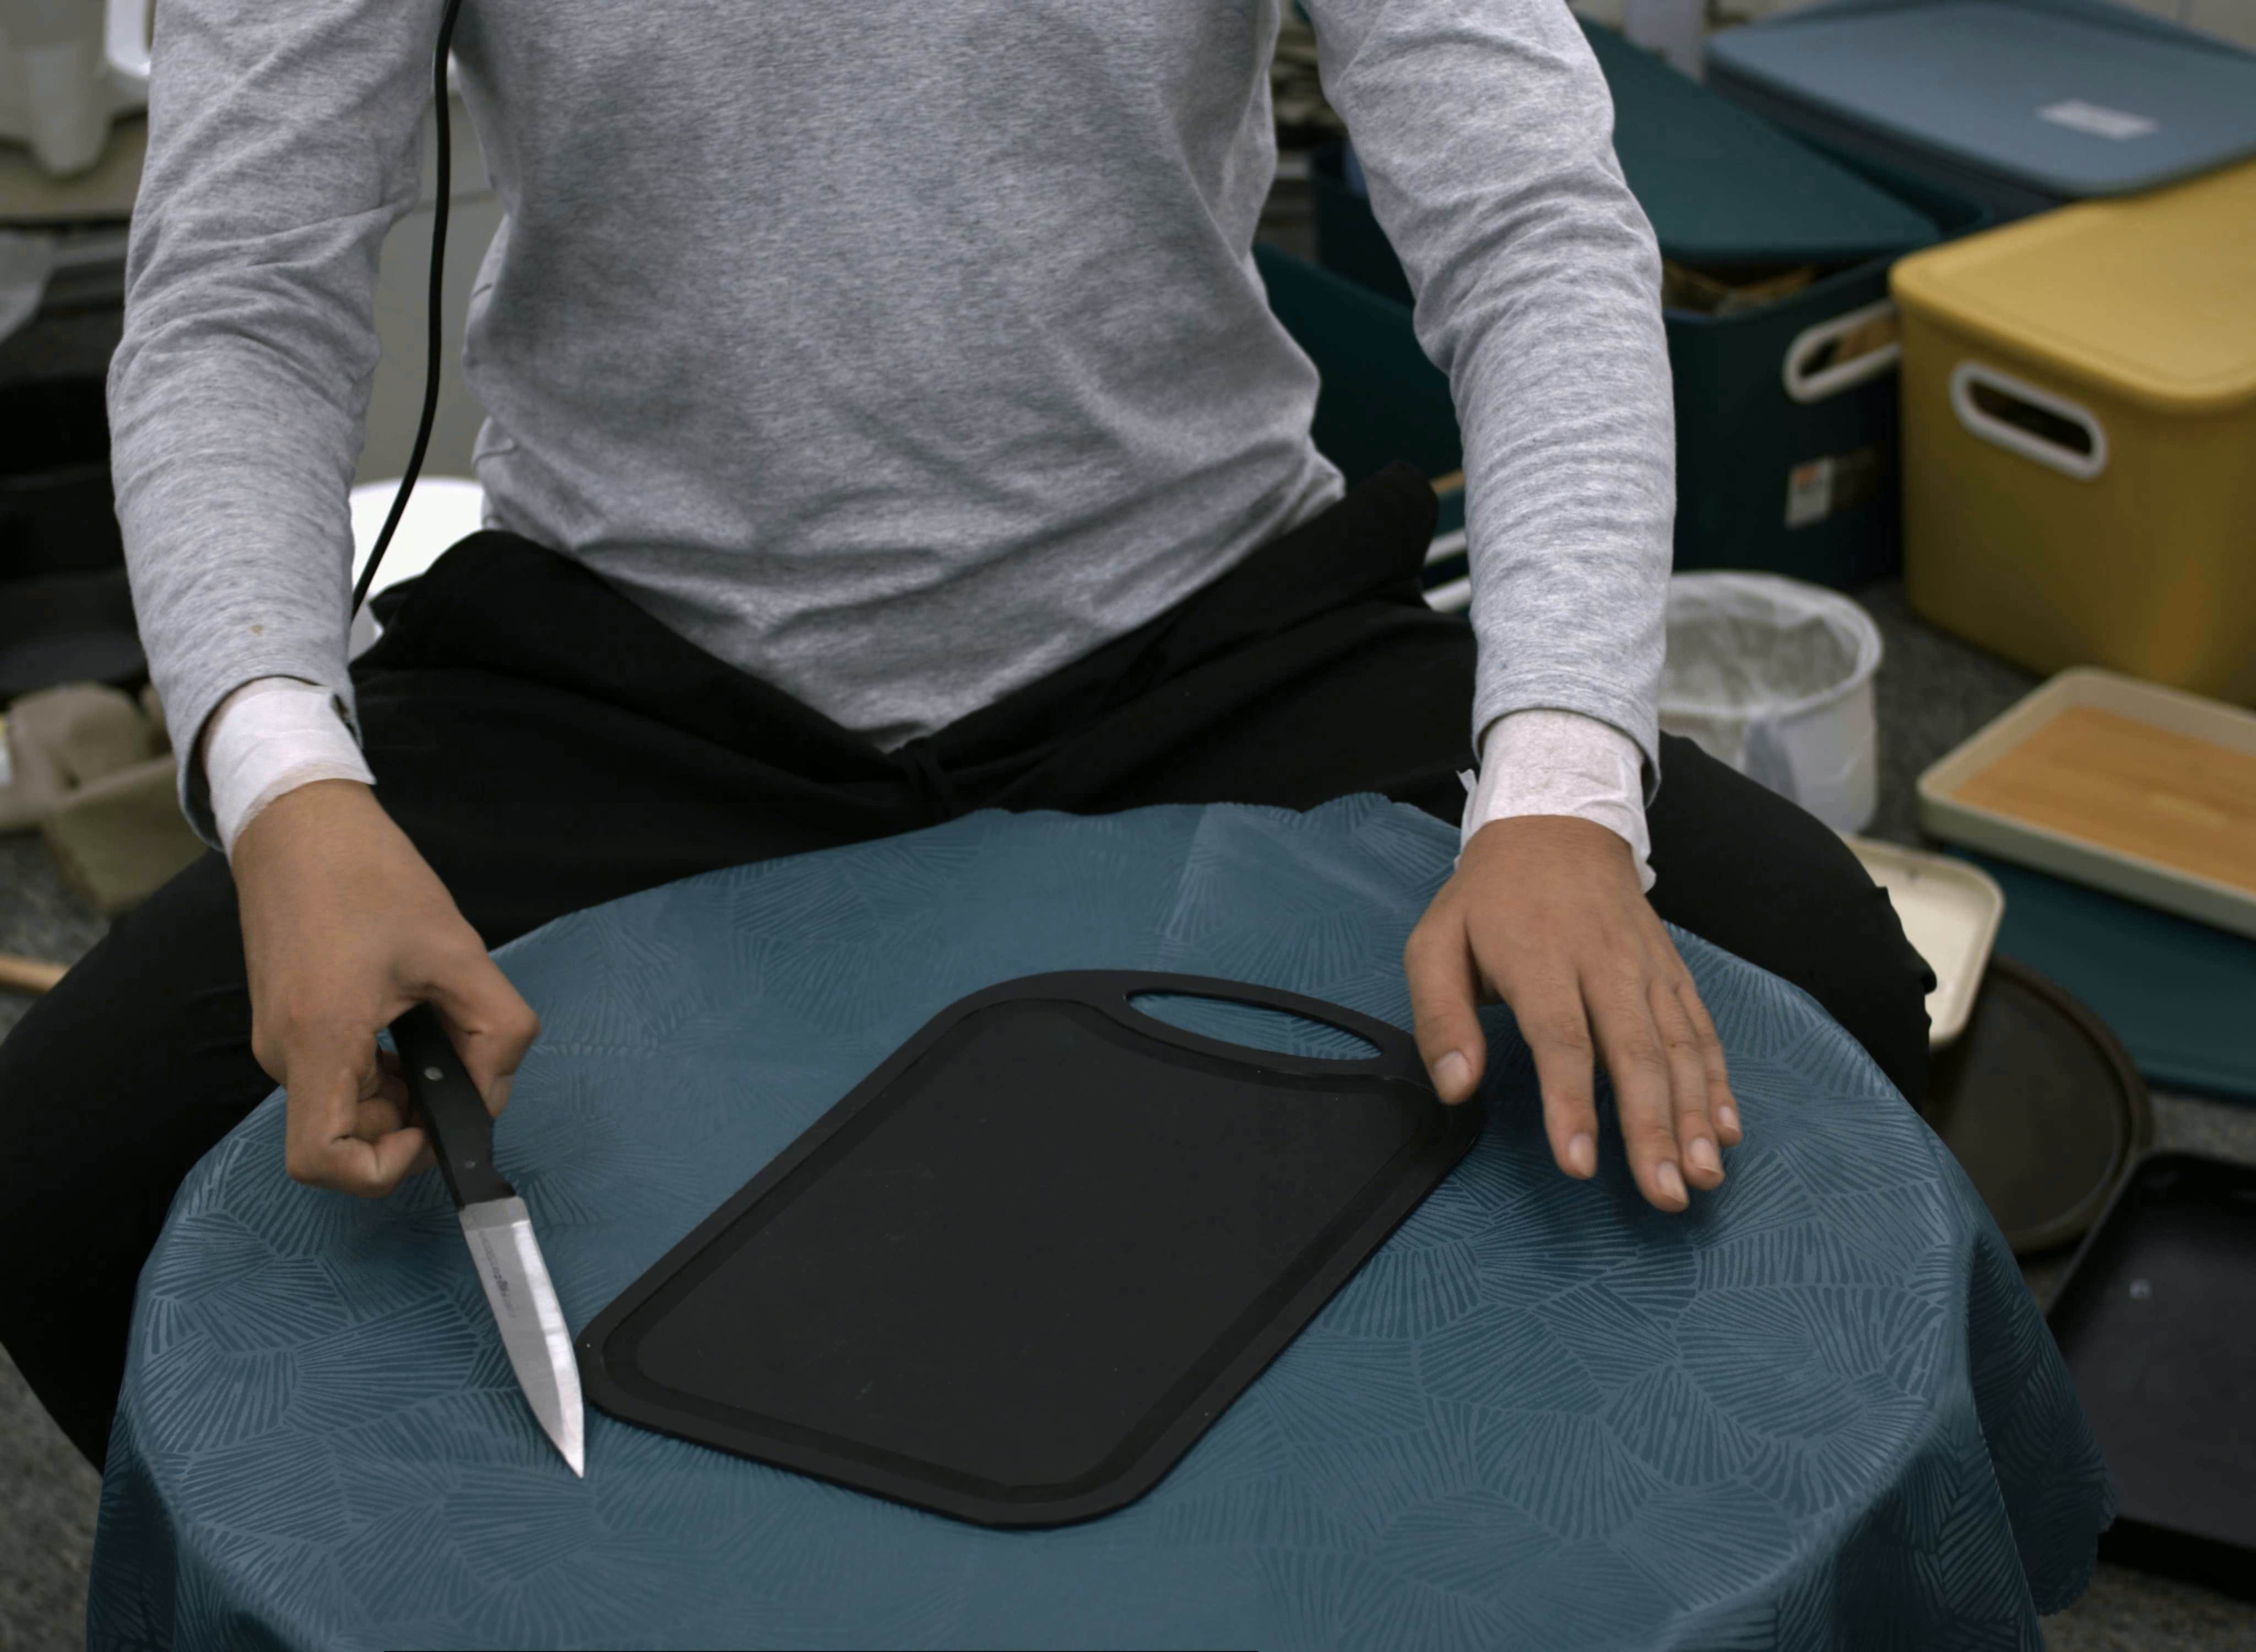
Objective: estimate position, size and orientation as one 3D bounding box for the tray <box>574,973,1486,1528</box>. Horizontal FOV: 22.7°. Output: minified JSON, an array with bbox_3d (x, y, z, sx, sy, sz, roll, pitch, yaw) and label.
[{"bbox_3d":[-0.024,0.127,1.846,0.210,0.009,0.330,13,31,27],"label":"tray"}]

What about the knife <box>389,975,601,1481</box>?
[{"bbox_3d":[-0.205,0.129,1.810,0.024,0.016,0.241,-10,41,-16],"label":"knife"}]
